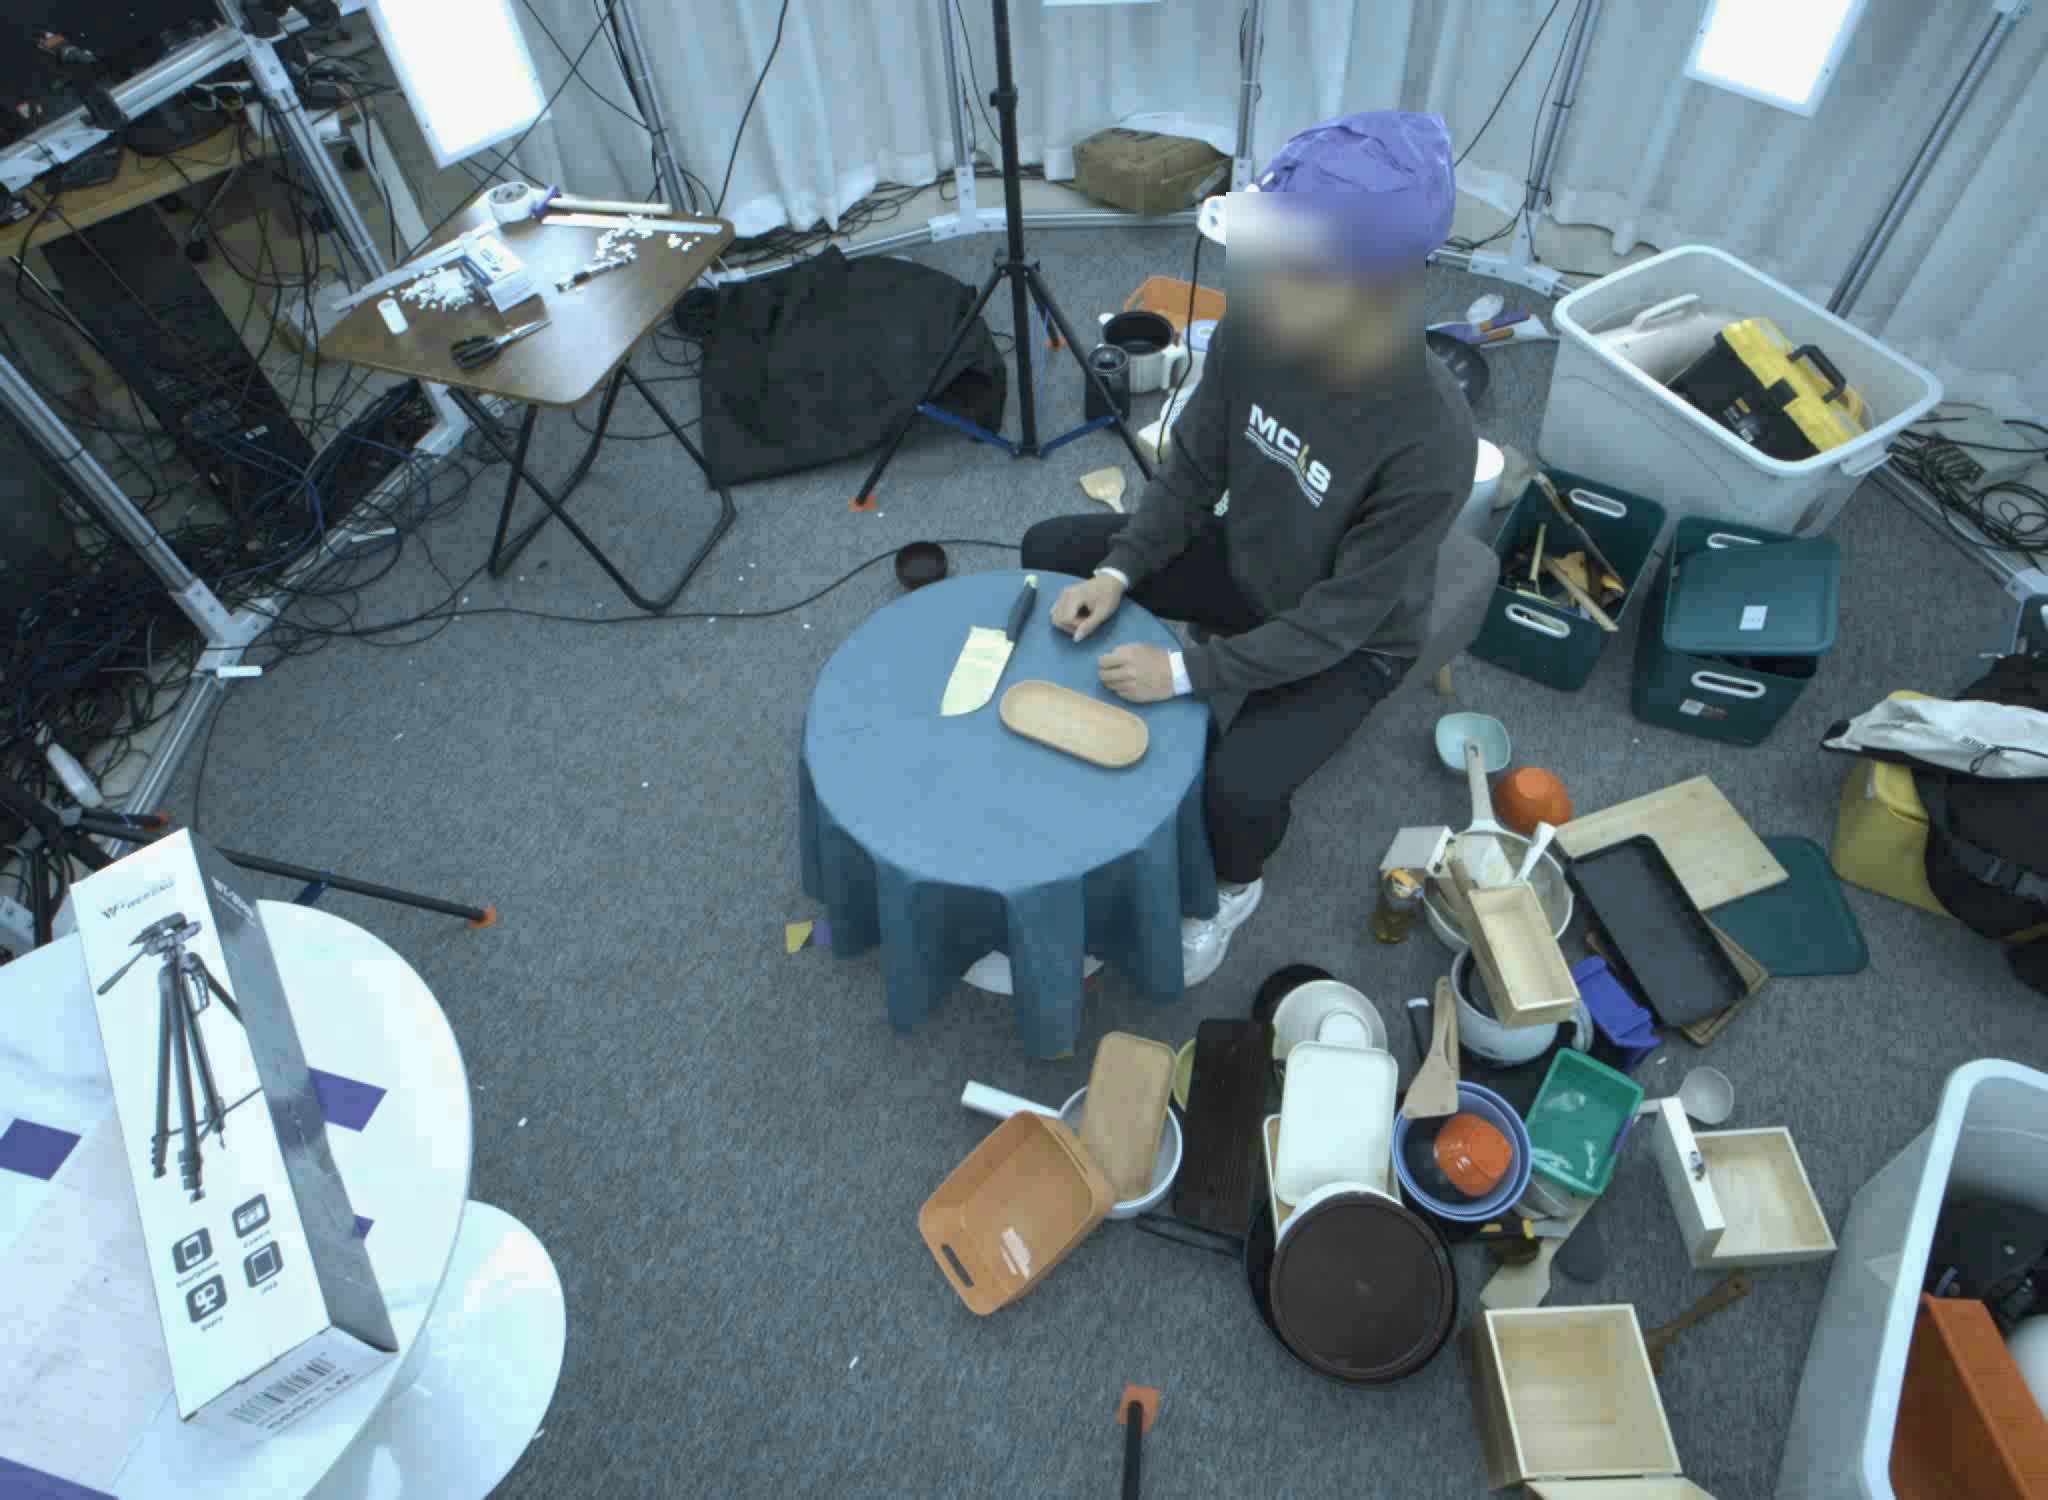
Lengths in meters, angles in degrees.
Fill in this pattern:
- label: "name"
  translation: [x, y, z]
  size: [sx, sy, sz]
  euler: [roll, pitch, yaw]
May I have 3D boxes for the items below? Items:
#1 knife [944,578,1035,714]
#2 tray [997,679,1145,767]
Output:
- label: "knife"
  translation: [-0.051, -0.165, 1.905]
  size: [0.080, 0.027, 0.289]
  euler: [18, 58, 12]
- label: "tray"
  translation: [0.068, -0.040, 1.812]
  size: [0.228, 0.020, 0.102]
  euler: [21, 56, 17]
